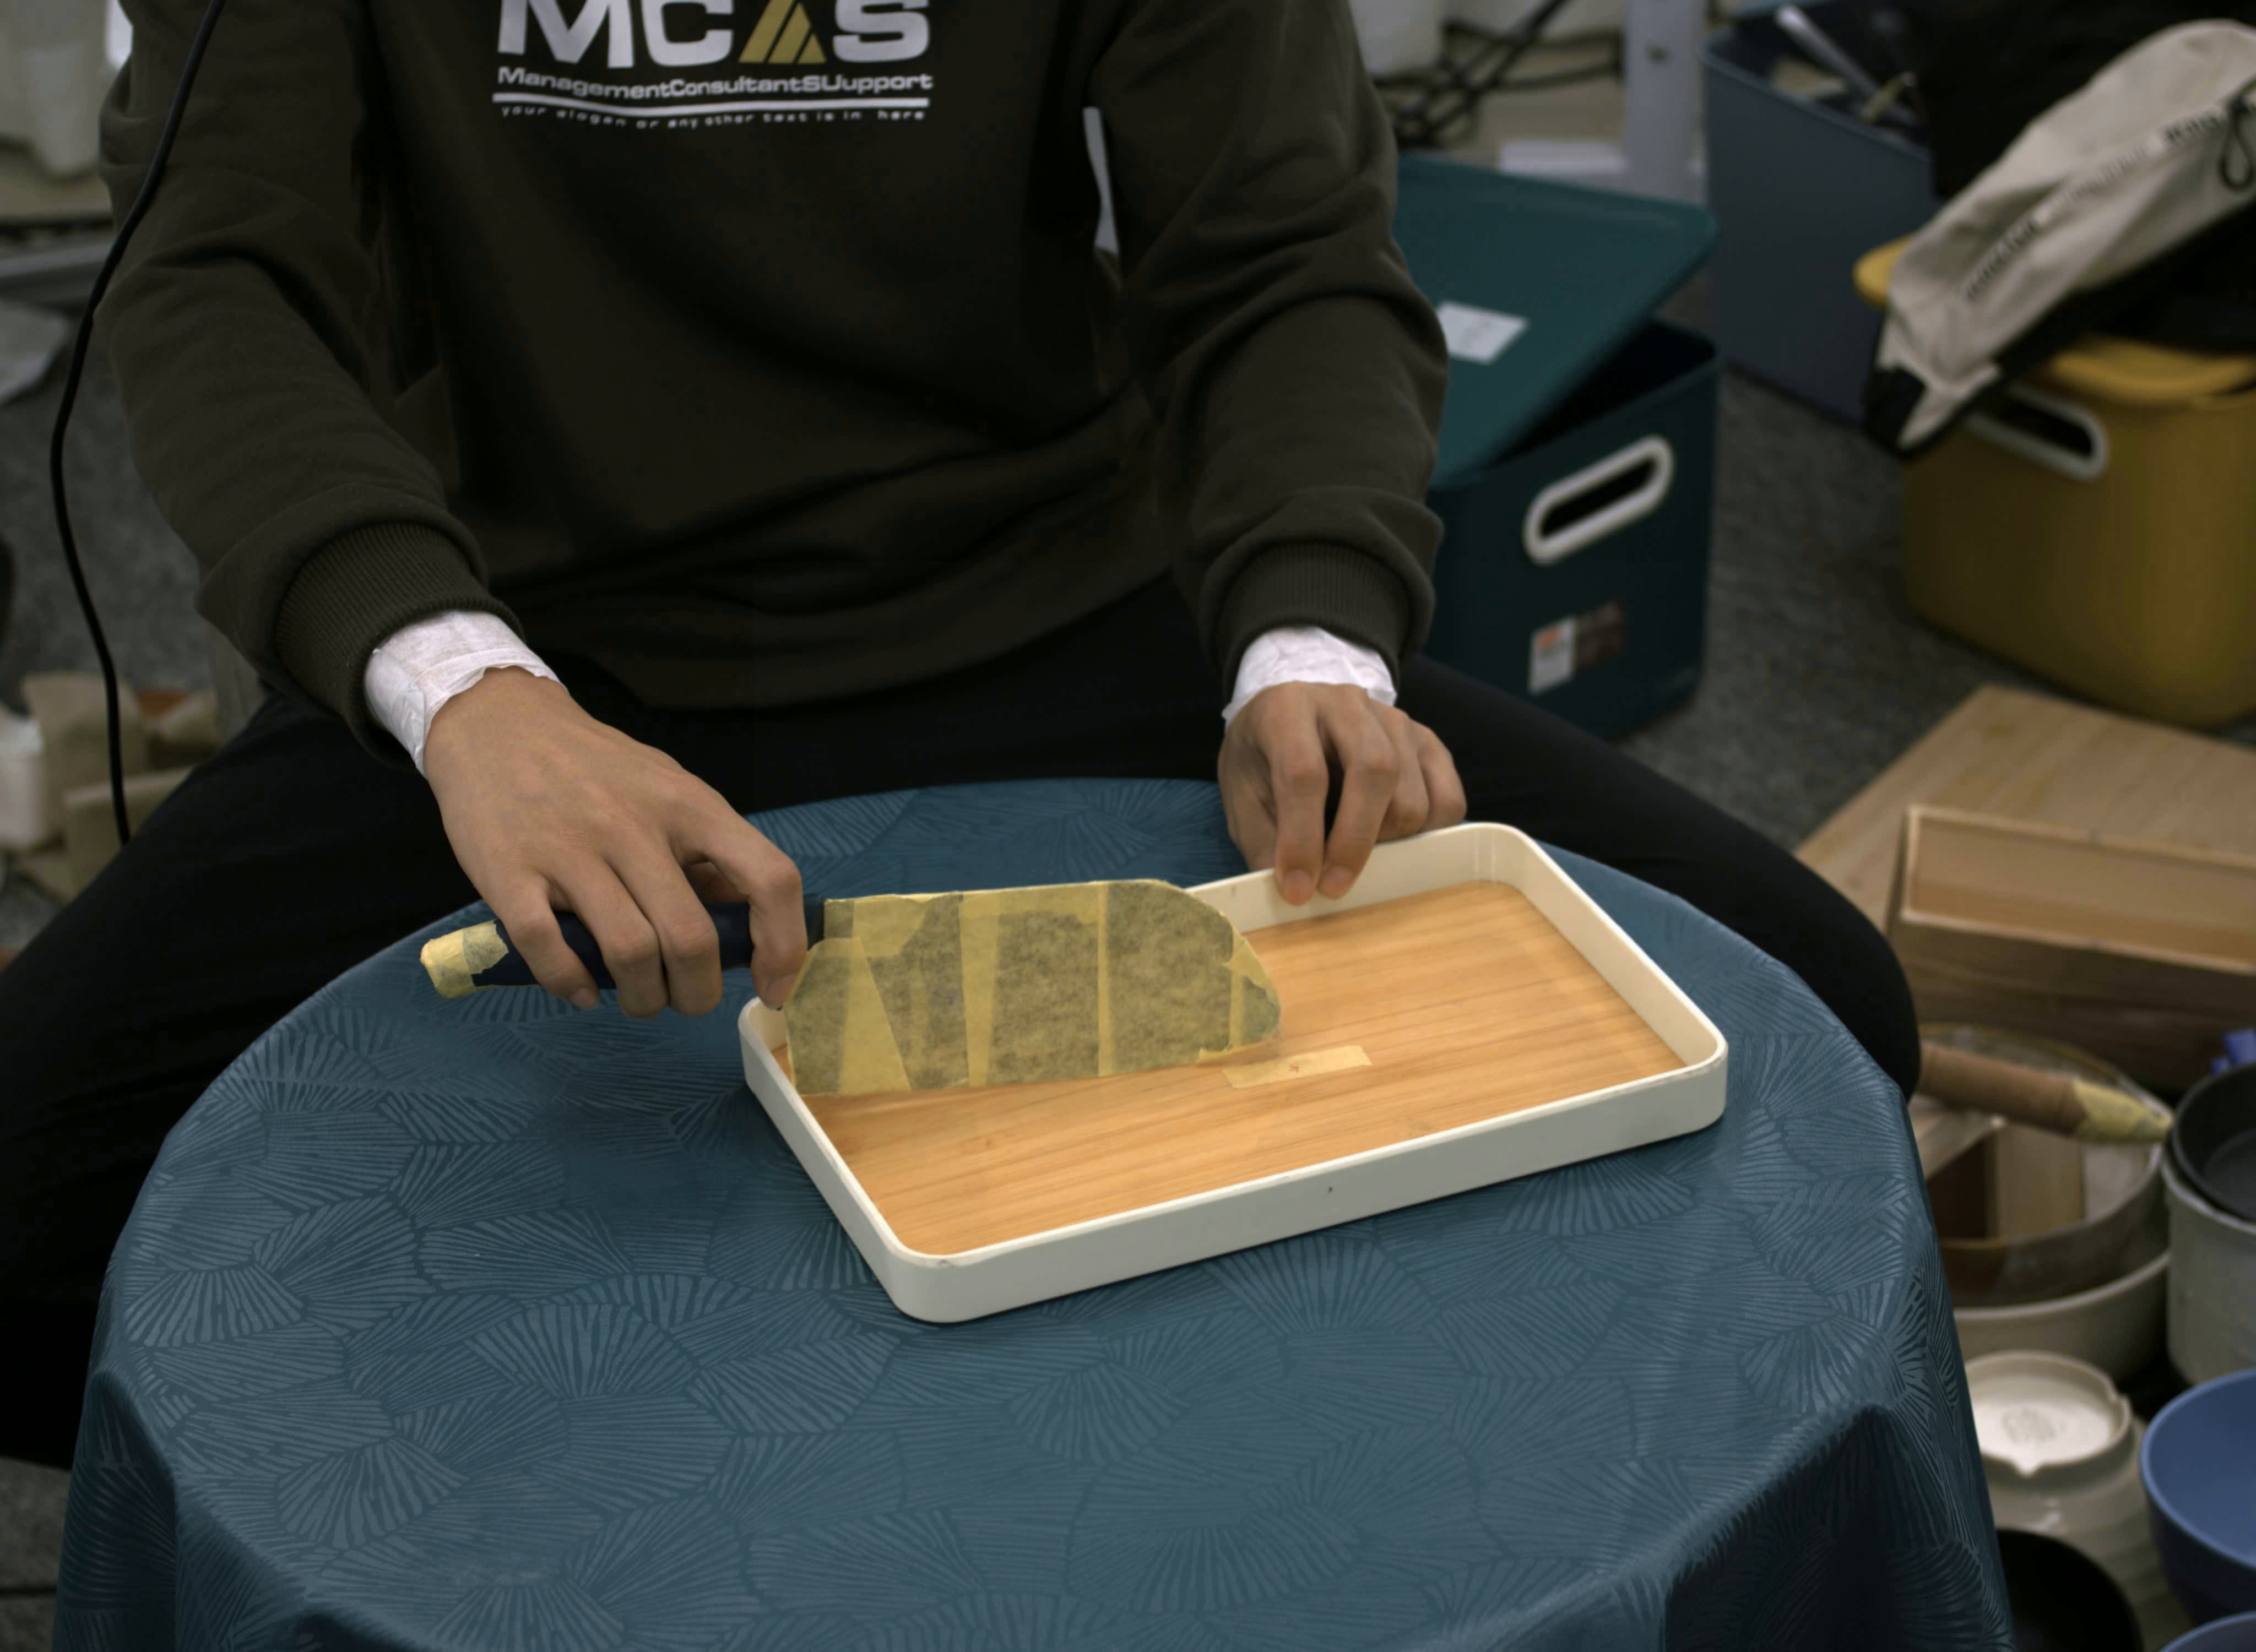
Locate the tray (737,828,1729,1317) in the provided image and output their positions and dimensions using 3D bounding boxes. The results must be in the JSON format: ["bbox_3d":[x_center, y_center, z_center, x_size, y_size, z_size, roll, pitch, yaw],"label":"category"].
[{"bbox_3d":[0.034,0.080,1.908,0.301,0.027,0.193,-13,29,-19],"label":"tray"}]

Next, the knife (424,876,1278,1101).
[{"bbox_3d":[-0.091,0.055,1.891,0.288,0.080,0.027,0,17,-7],"label":"knife"}]
